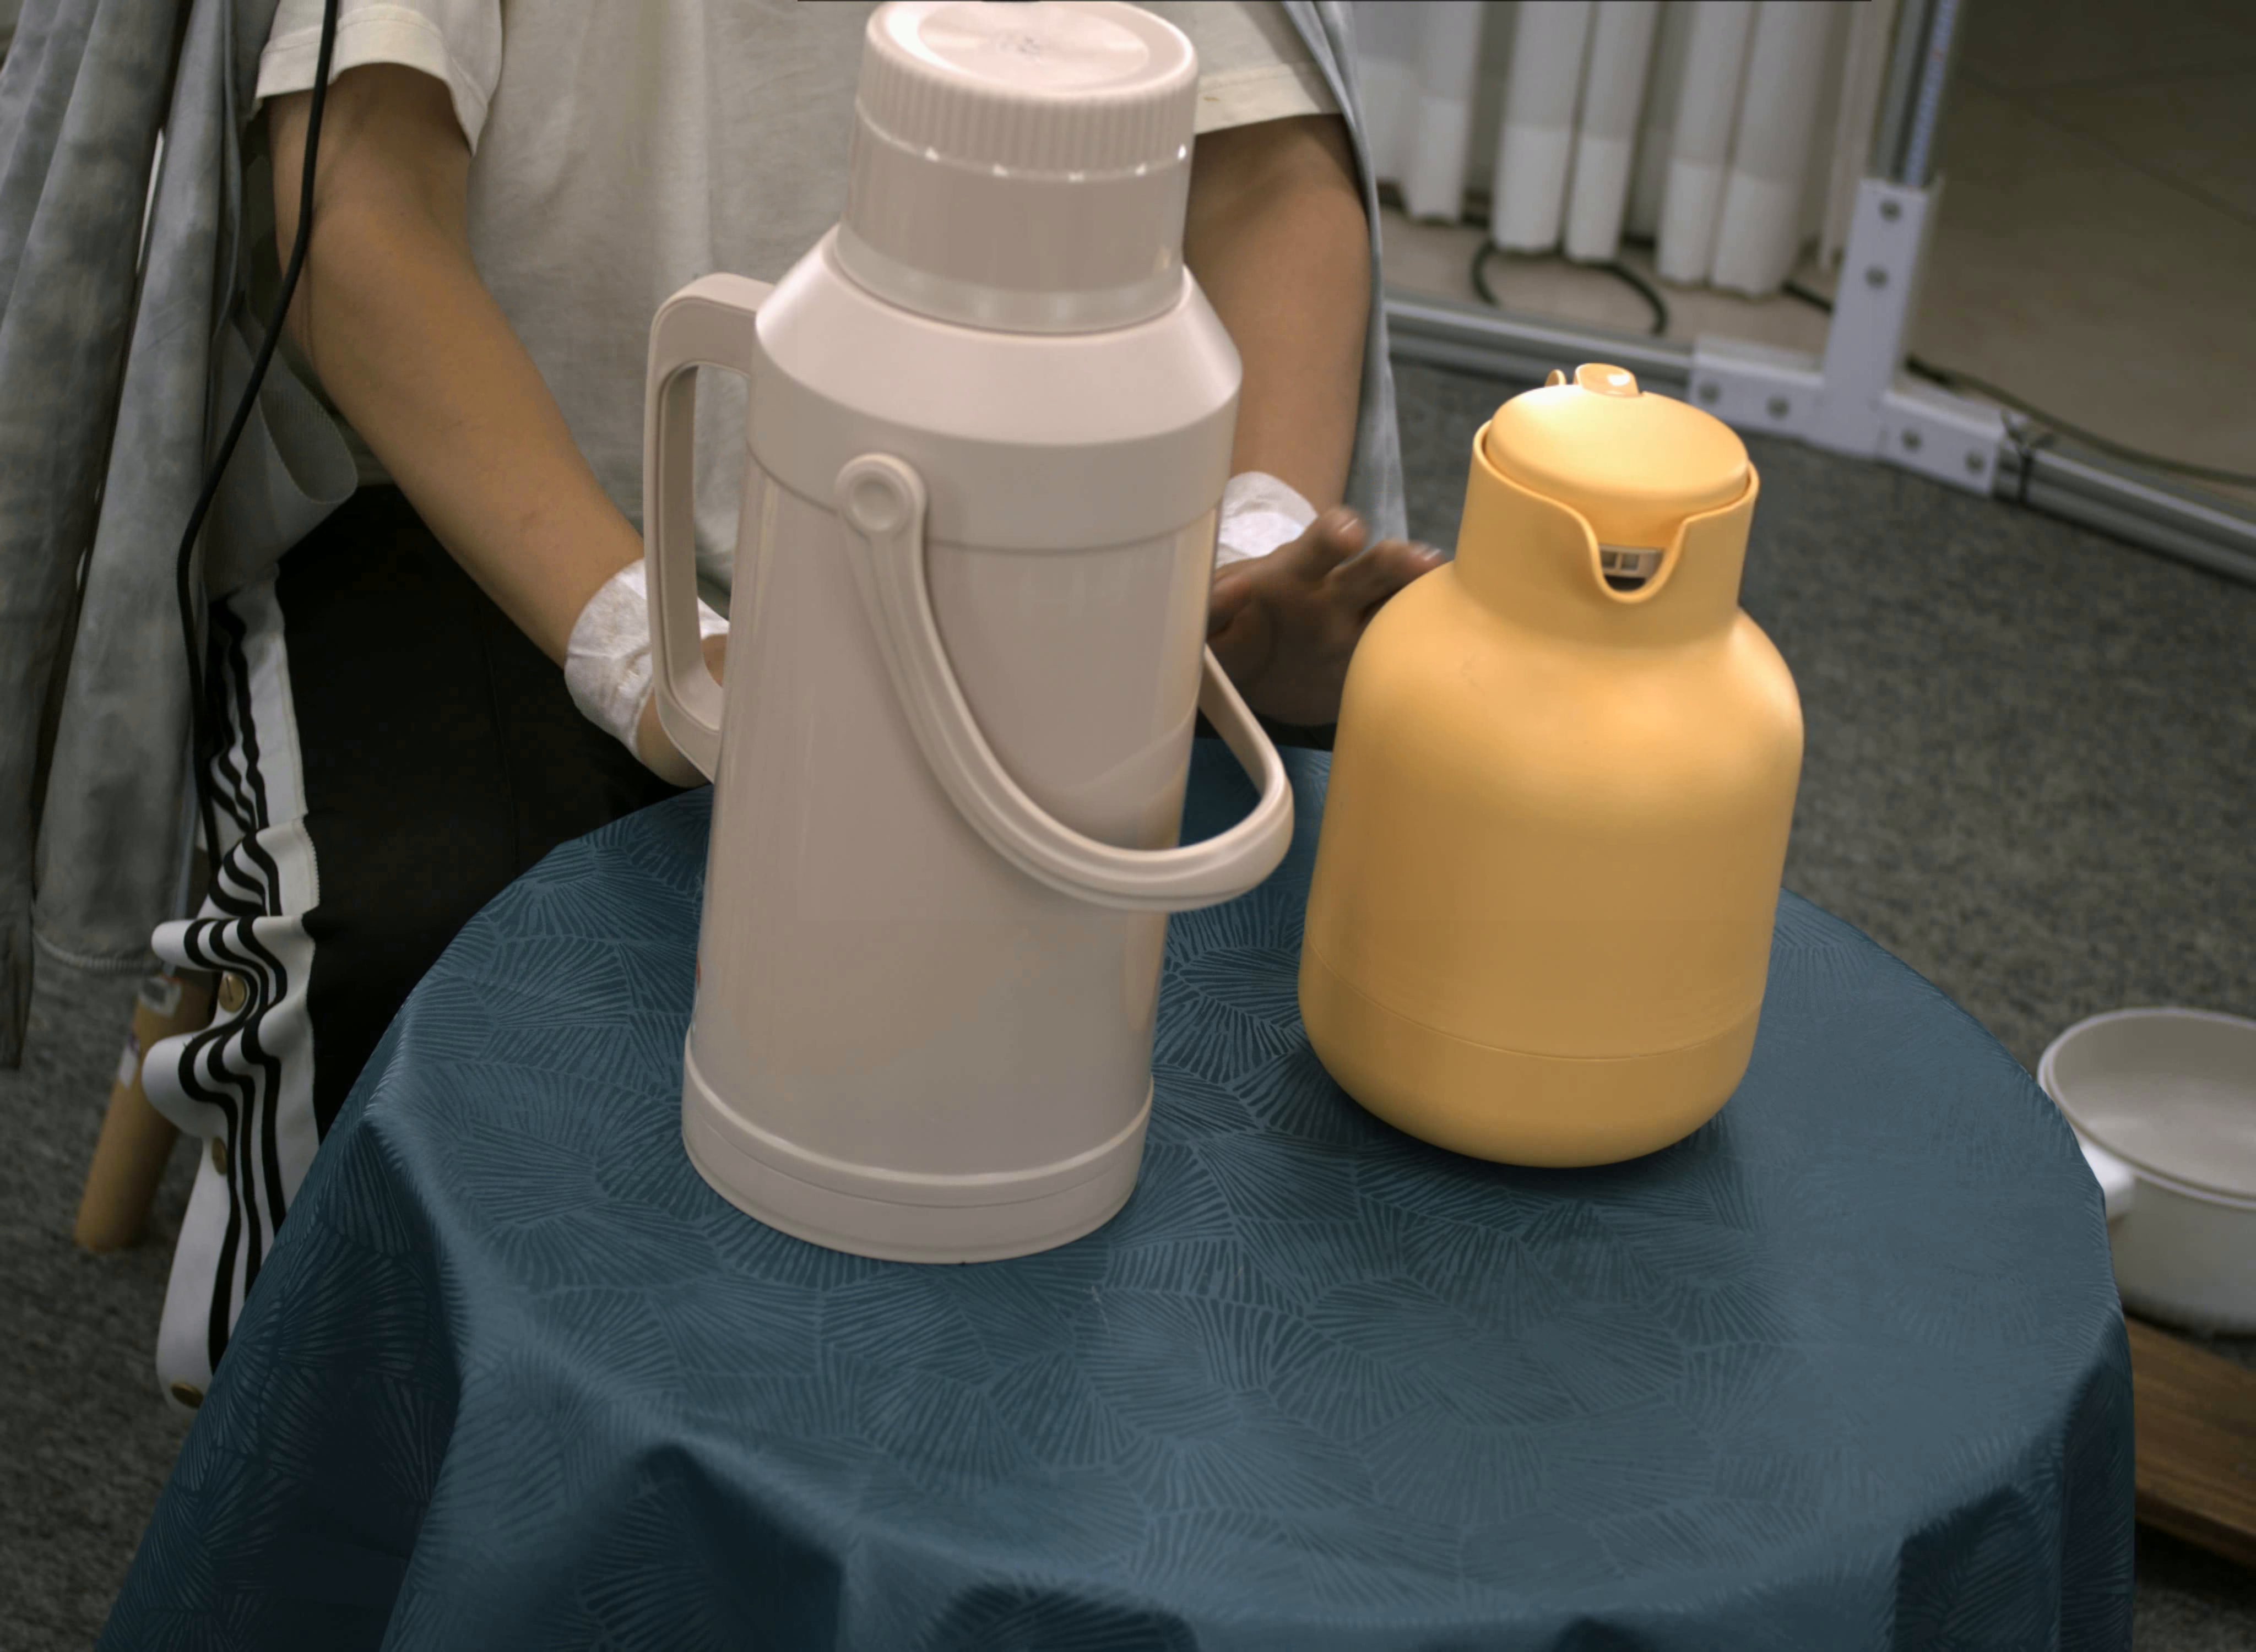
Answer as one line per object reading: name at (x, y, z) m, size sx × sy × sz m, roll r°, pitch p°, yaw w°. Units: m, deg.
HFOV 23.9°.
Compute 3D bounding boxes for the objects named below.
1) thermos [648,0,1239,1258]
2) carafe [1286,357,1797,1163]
thermos at (-0.065, -0.073, 1.738) m, size 0.207 × 0.405 × 0.175 m, roll 17°, pitch 29°, yaw 19°
carafe at (0.151, -0.032, 1.857) m, size 0.163 × 0.259 × 0.203 m, roll 9°, pitch 28°, yaw -2°
